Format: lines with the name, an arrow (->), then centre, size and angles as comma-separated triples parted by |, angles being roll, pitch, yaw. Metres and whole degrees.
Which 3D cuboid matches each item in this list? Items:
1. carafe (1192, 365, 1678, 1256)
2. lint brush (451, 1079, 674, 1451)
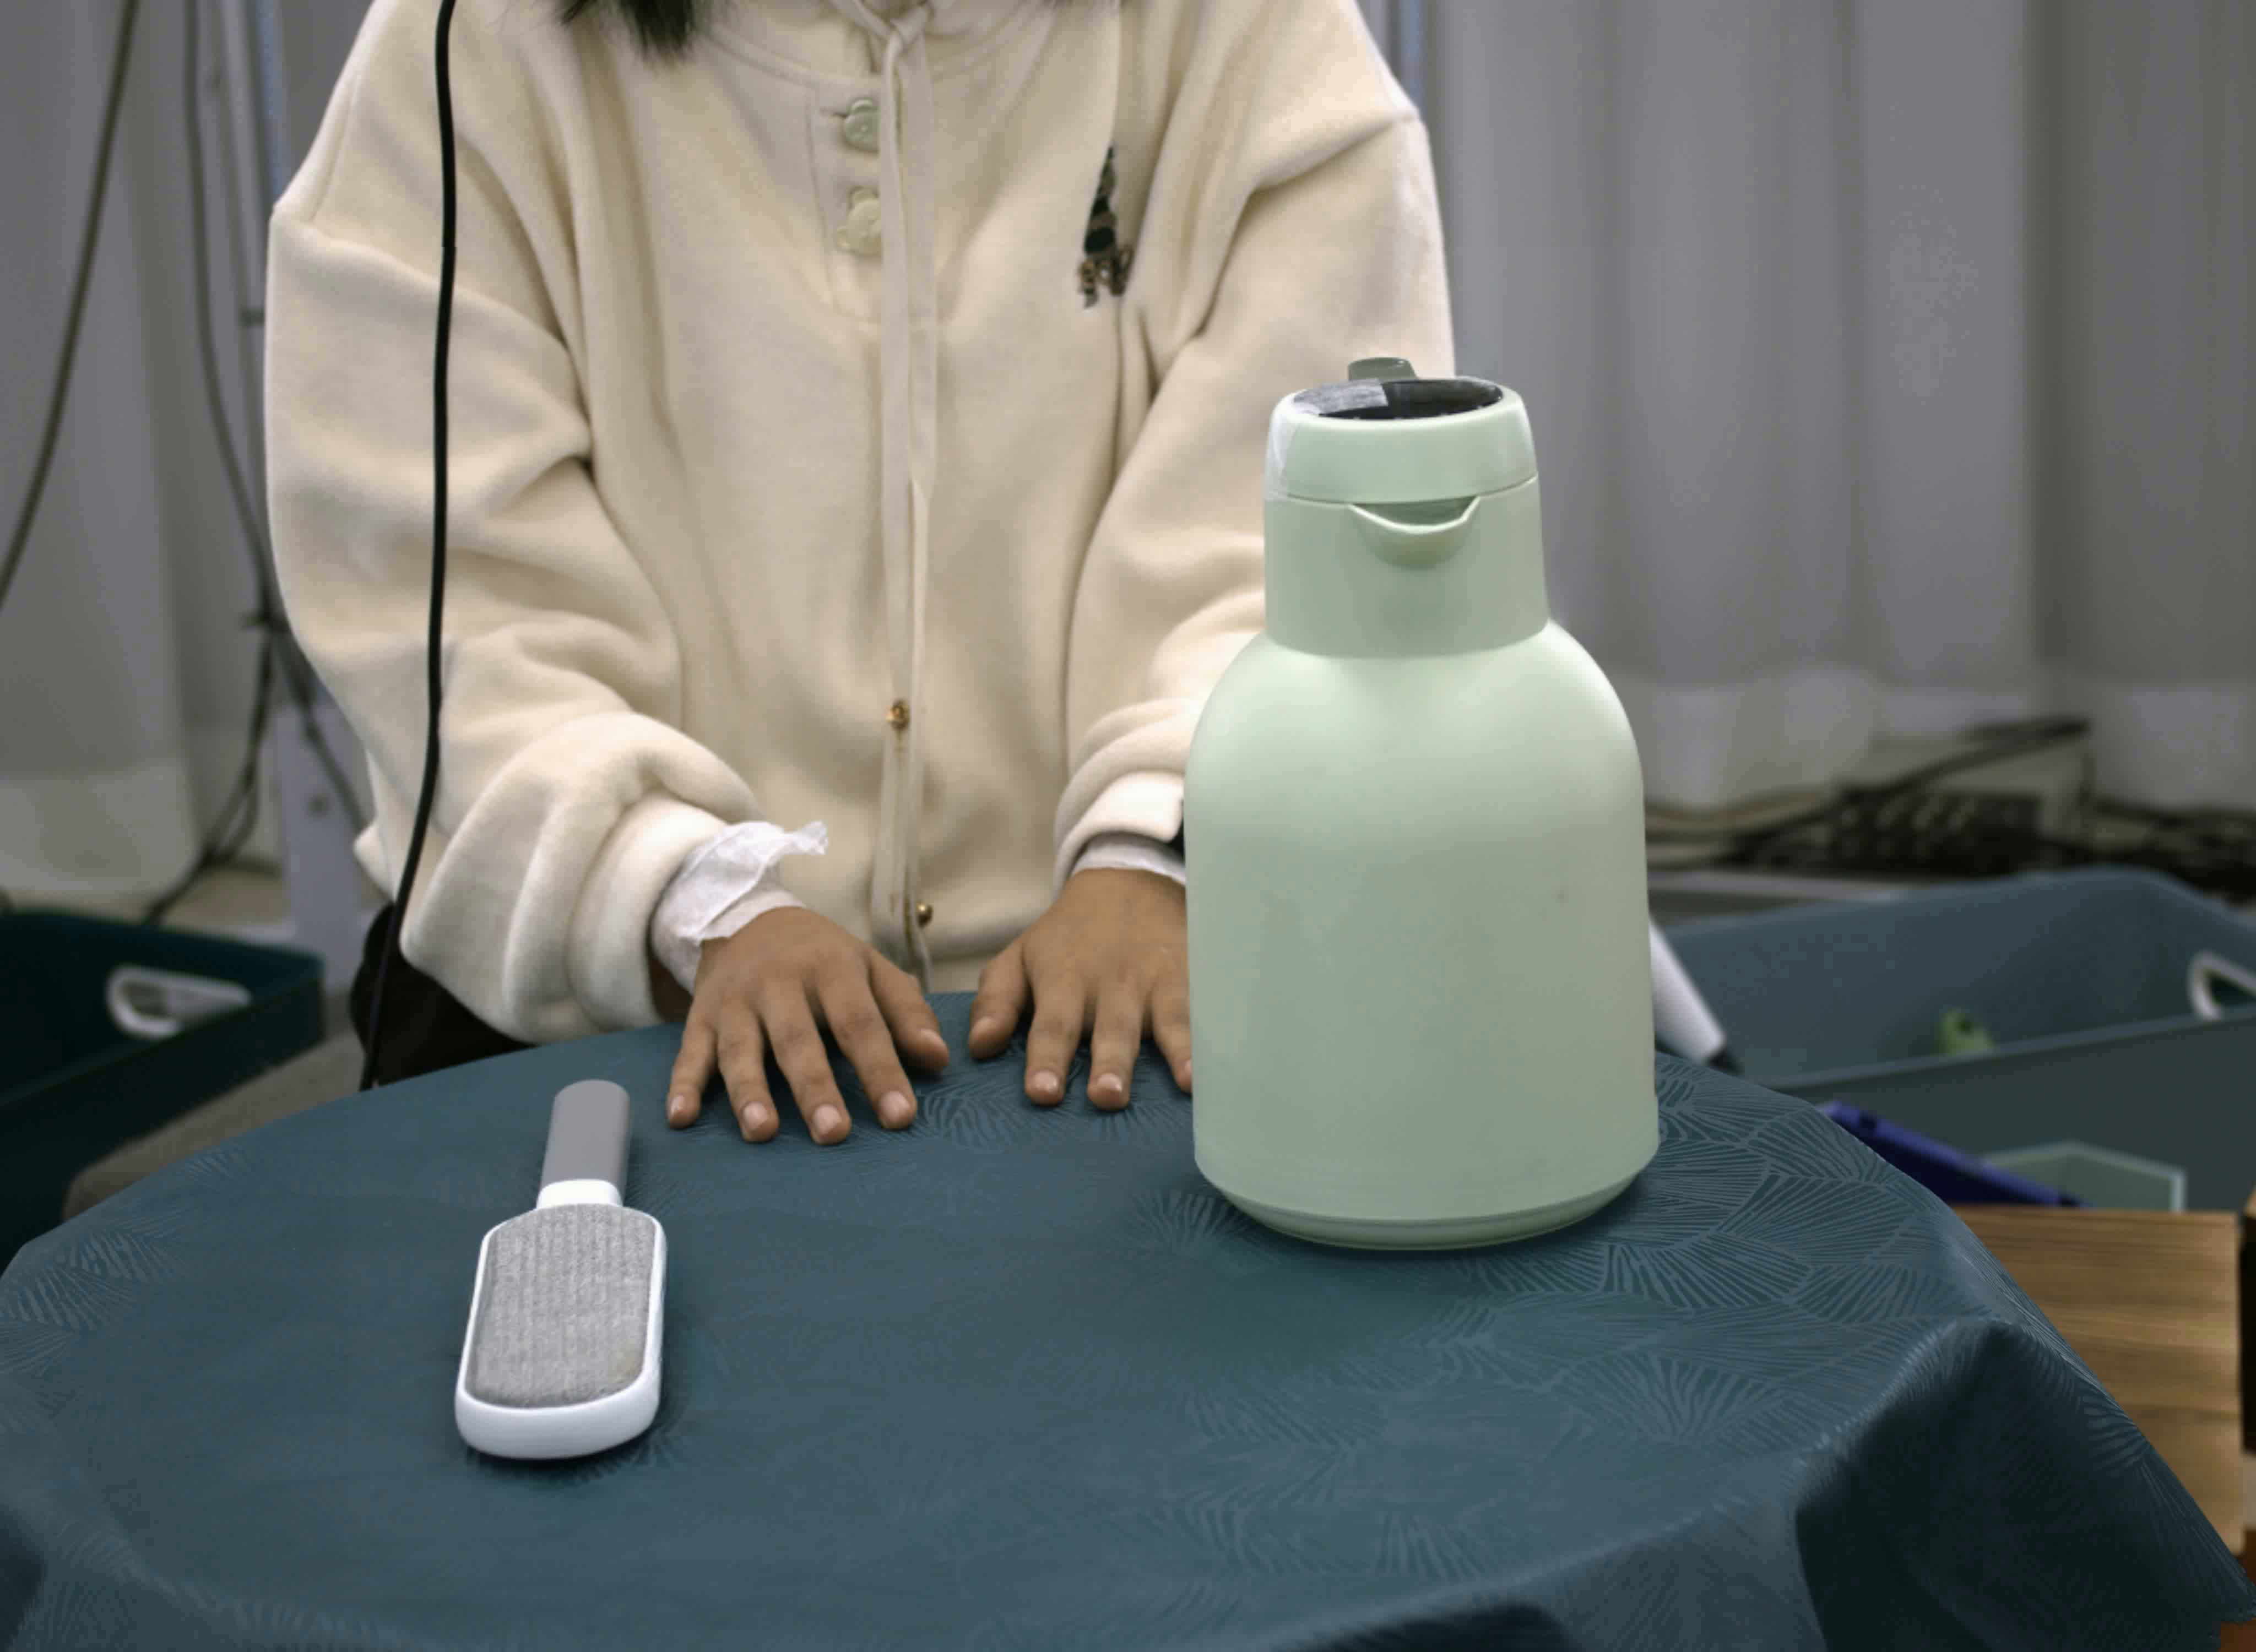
carafe -> 0.089, -0.010, 1.686 | 0.144, 0.256, 0.188 | -5, 10, -2
lint brush -> -0.166, 0.128, 1.650 | 0.060, 0.021, 0.311 | -6, 14, -2
